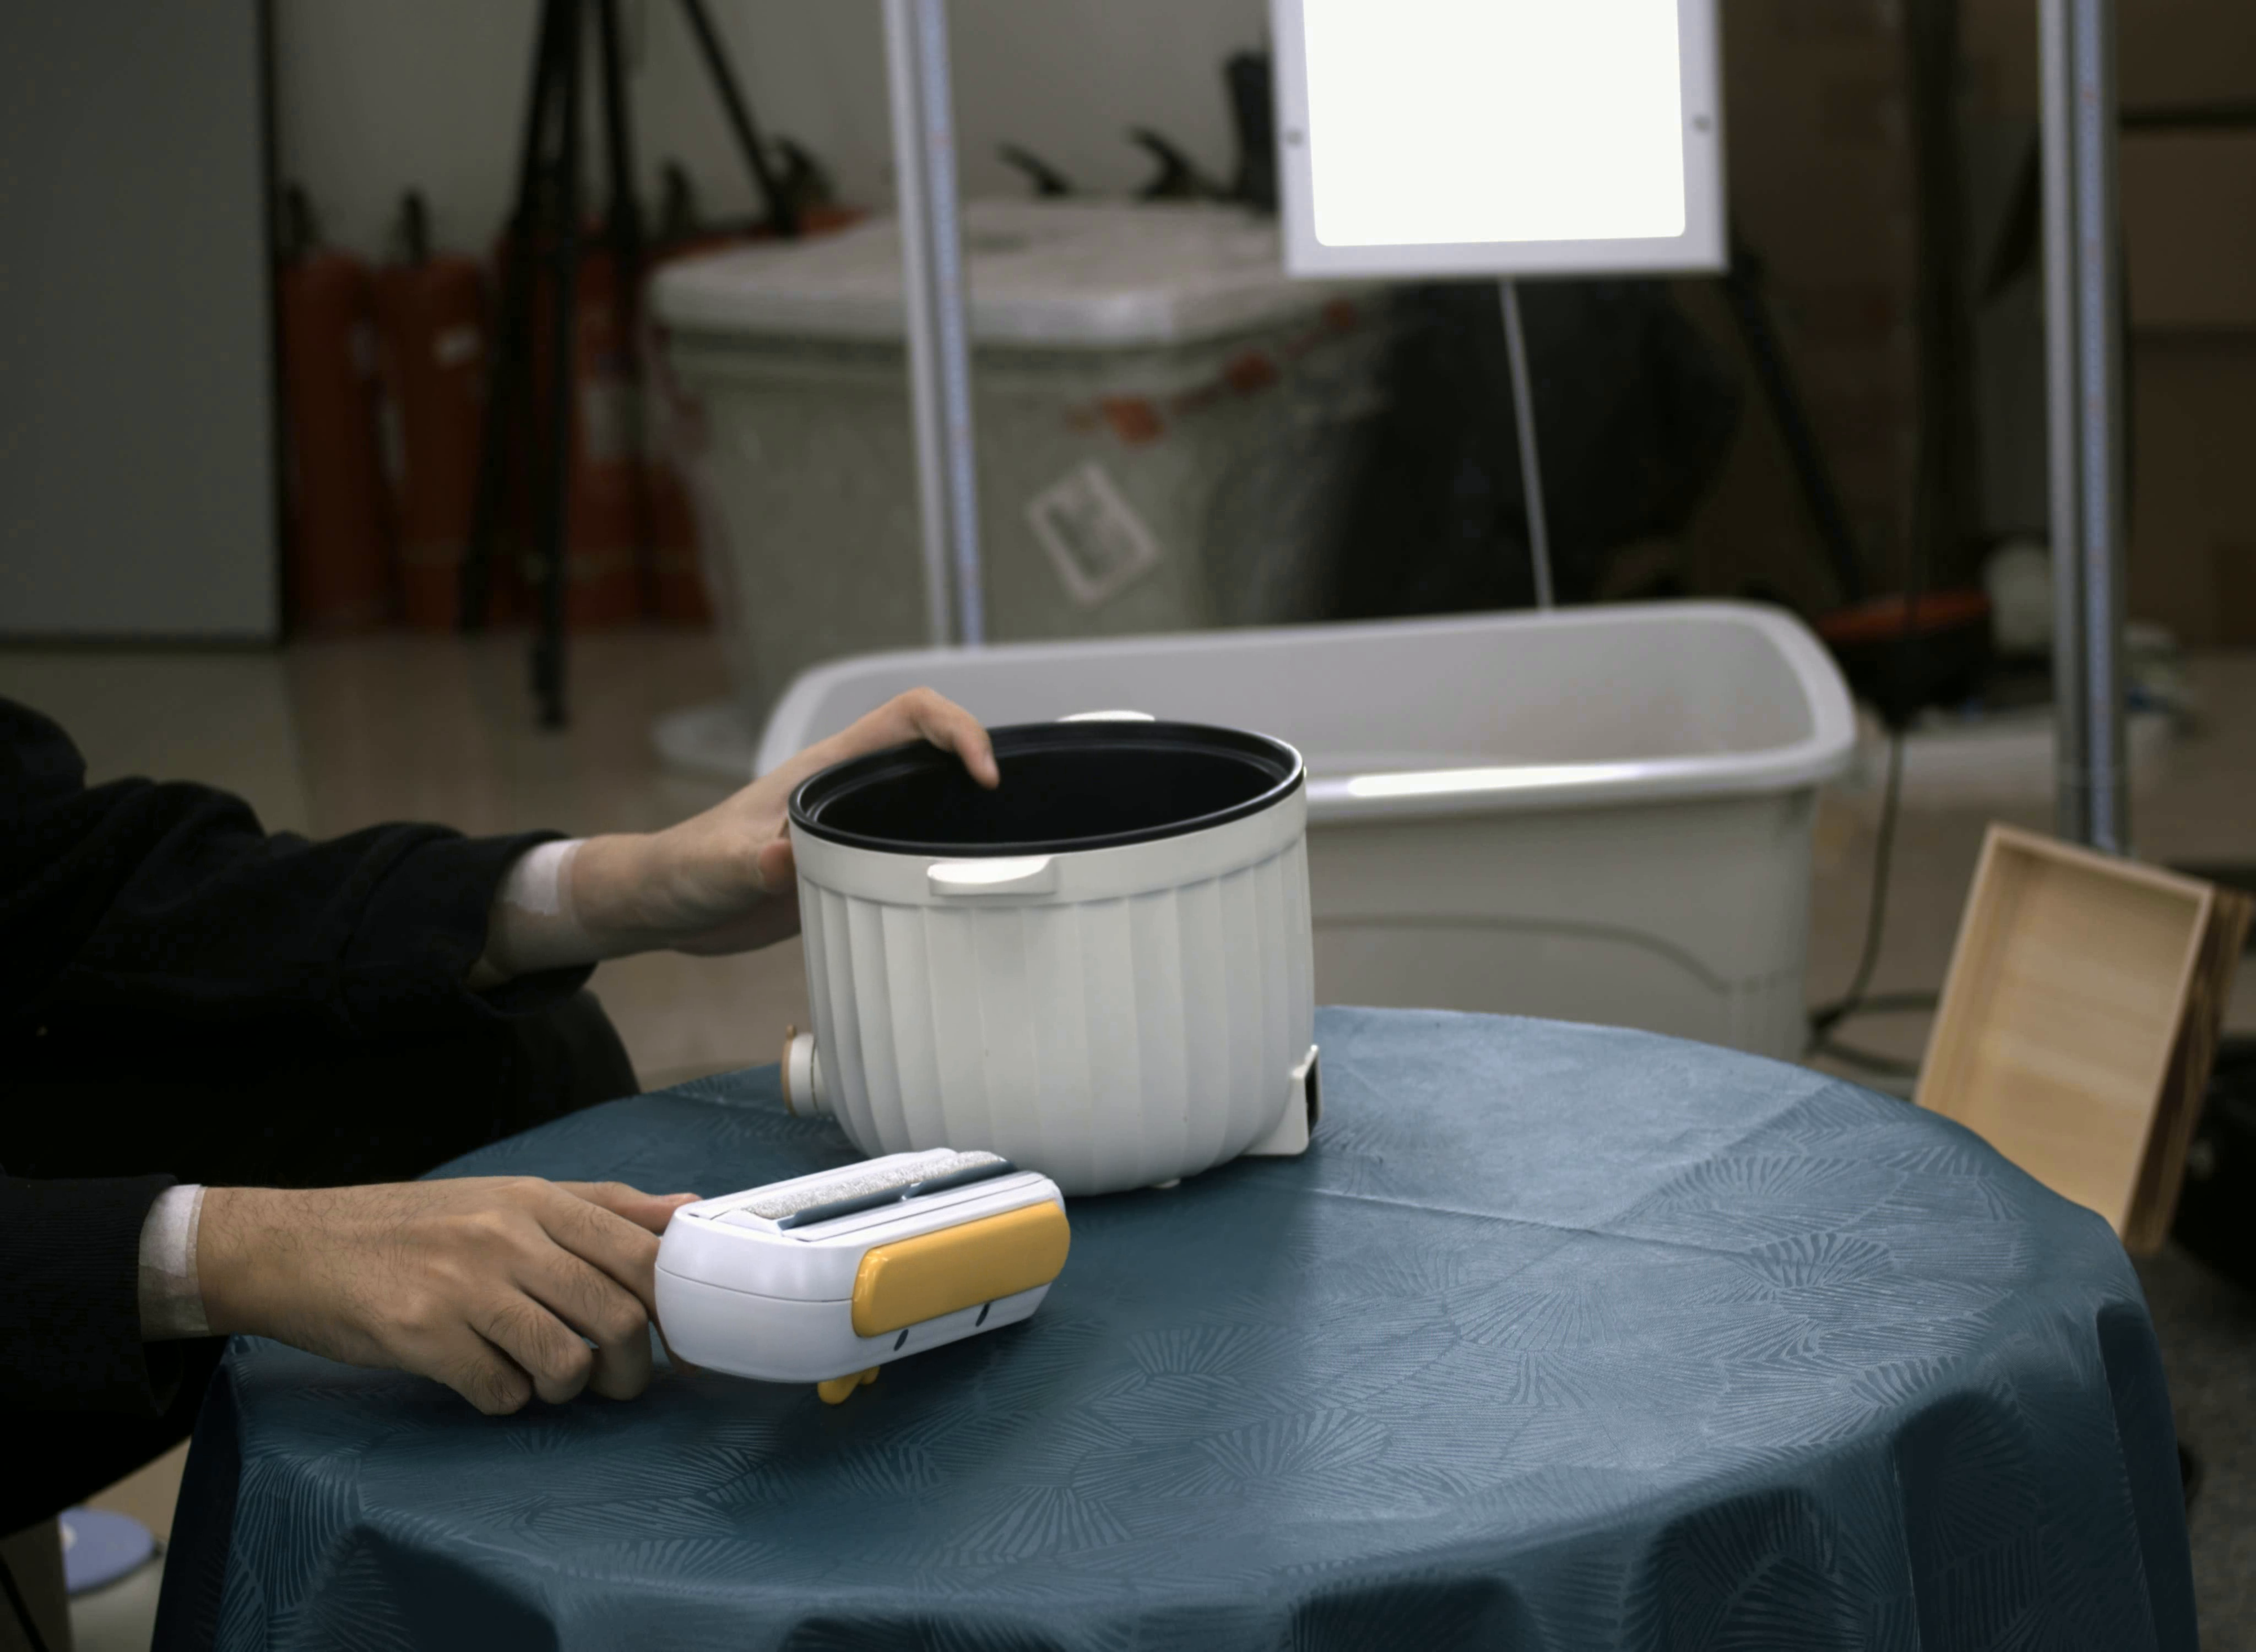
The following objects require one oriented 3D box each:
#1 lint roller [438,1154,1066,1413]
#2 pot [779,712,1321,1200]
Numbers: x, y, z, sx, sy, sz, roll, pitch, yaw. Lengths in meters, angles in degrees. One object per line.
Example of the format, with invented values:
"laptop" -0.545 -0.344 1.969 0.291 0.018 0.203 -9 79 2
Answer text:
"lint roller" -0.135 0.142 1.739 0.196 0.074 0.188 1 8 30
"pot" -0.029 0.049 1.930 0.192 0.143 0.238 1 13 11
